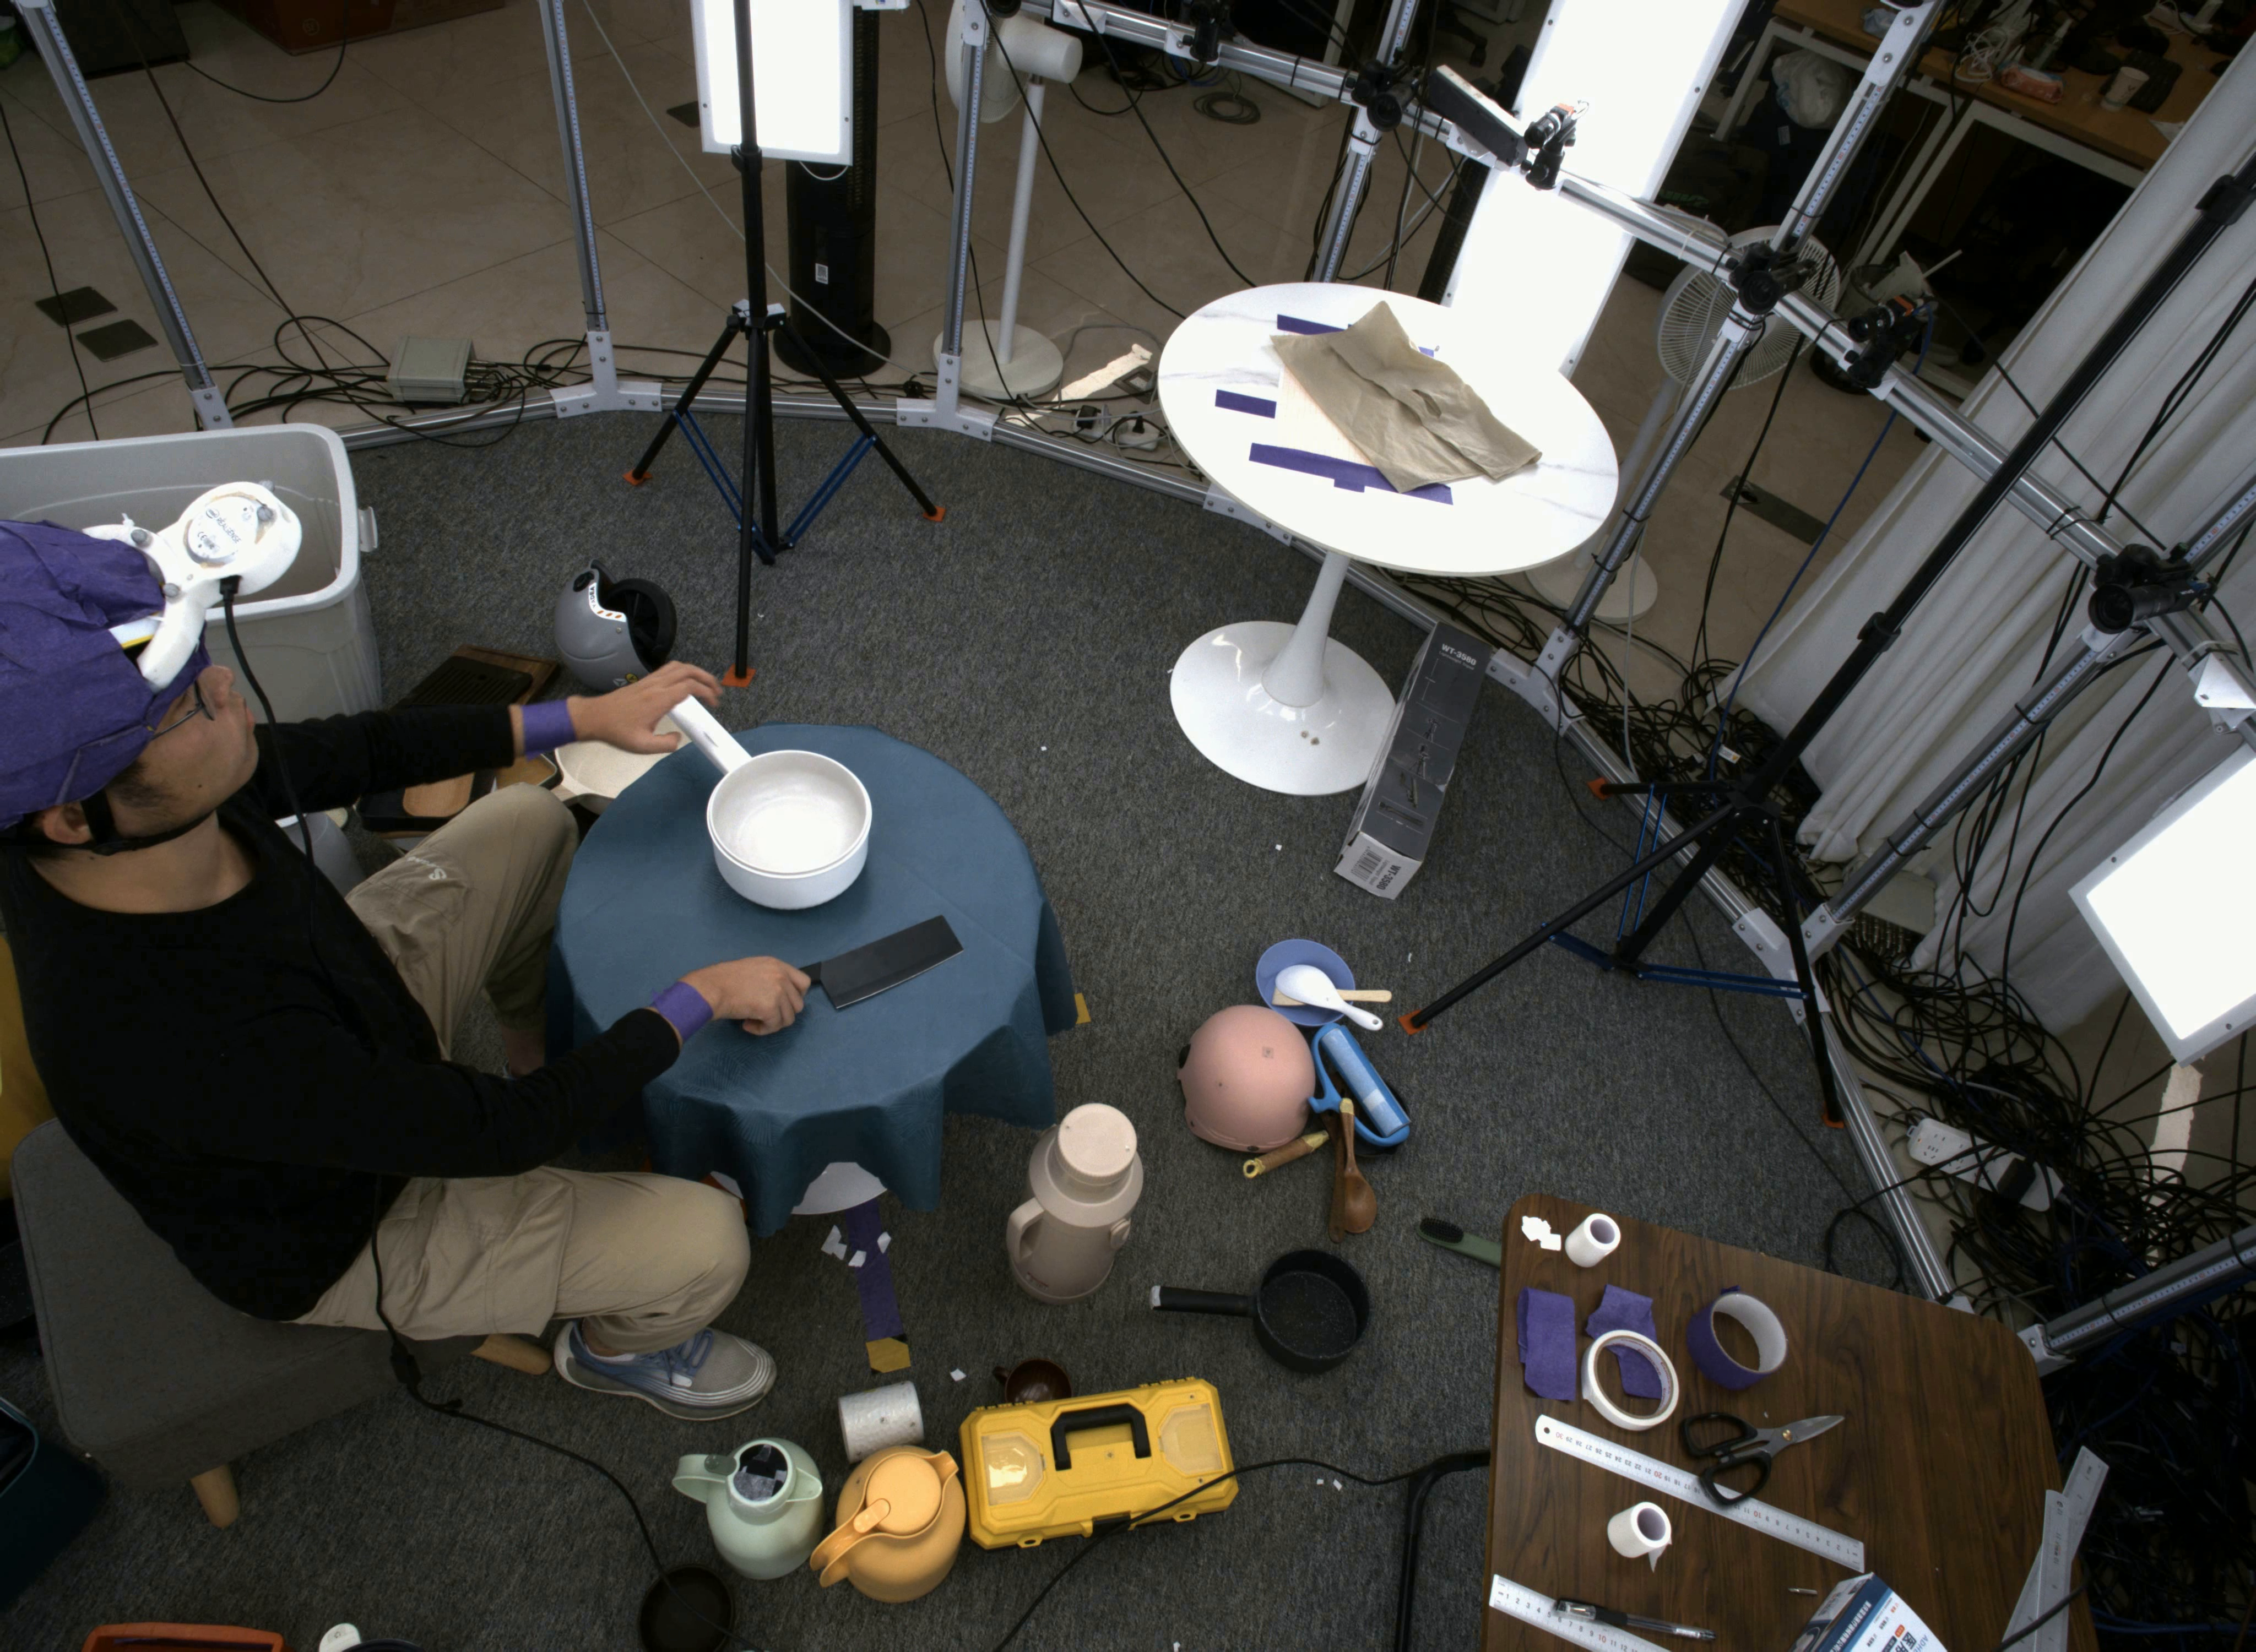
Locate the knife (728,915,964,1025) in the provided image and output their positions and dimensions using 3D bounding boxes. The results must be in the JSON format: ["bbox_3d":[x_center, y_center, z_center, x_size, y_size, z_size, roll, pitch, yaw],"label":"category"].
[{"bbox_3d":[-0.346,0.181,1.598,0.304,0.021,0.079,-17,61,-28],"label":"knife"}]

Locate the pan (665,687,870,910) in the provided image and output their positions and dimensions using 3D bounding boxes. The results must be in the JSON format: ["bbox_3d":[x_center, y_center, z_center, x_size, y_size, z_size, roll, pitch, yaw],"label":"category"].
[{"bbox_3d":[-0.483,-0.039,1.673,0.346,0.104,0.201,41,56,19],"label":"pan"}]
